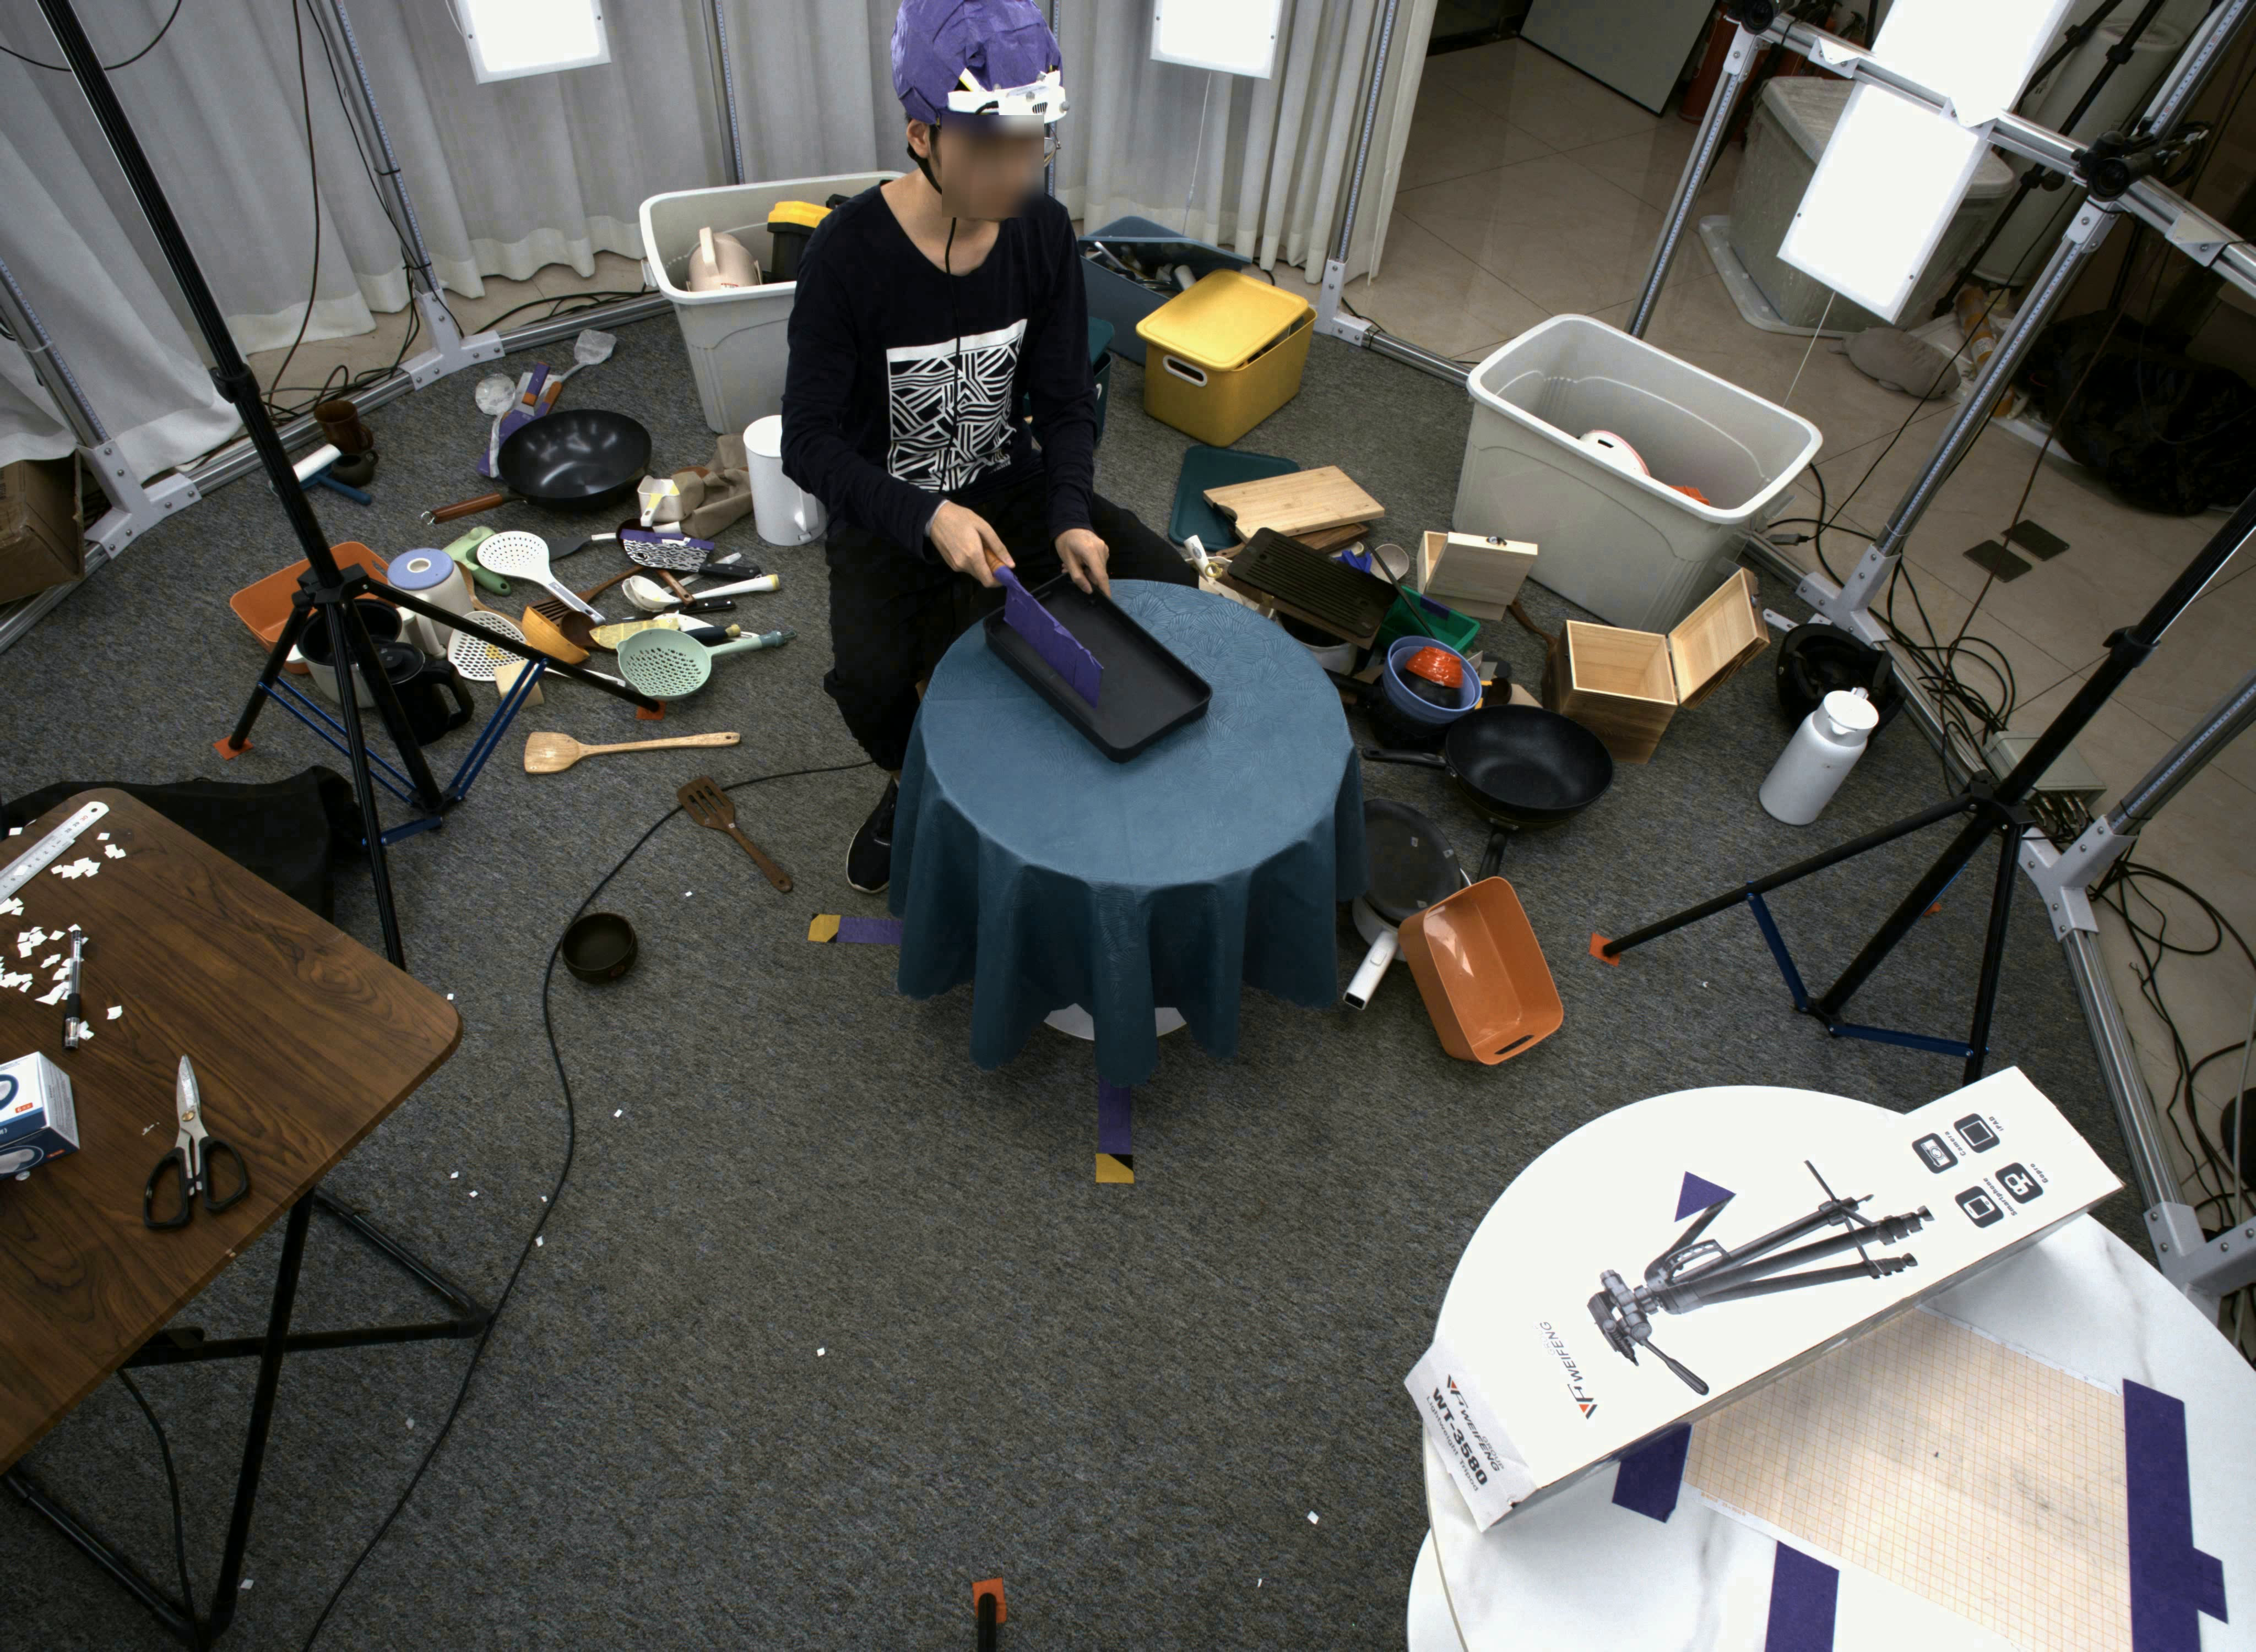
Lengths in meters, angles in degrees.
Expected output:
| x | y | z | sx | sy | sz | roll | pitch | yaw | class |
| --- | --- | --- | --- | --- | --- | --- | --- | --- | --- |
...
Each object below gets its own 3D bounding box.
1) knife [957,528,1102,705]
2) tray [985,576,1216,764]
| x | y | z | sx | sy | sz | roll | pitch | yaw | class |
| --- | --- | --- | --- | --- | --- | --- | --- | --- | --- |
| -0.139 | -0.290 | 1.801 | 0.032 | 0.101 | 0.320 | -29 | 63 | -26 | knife |
| -0.042 | -0.228 | 1.831 | 0.186 | 0.036 | 0.323 | -34 | 60 | -25 | tray |
